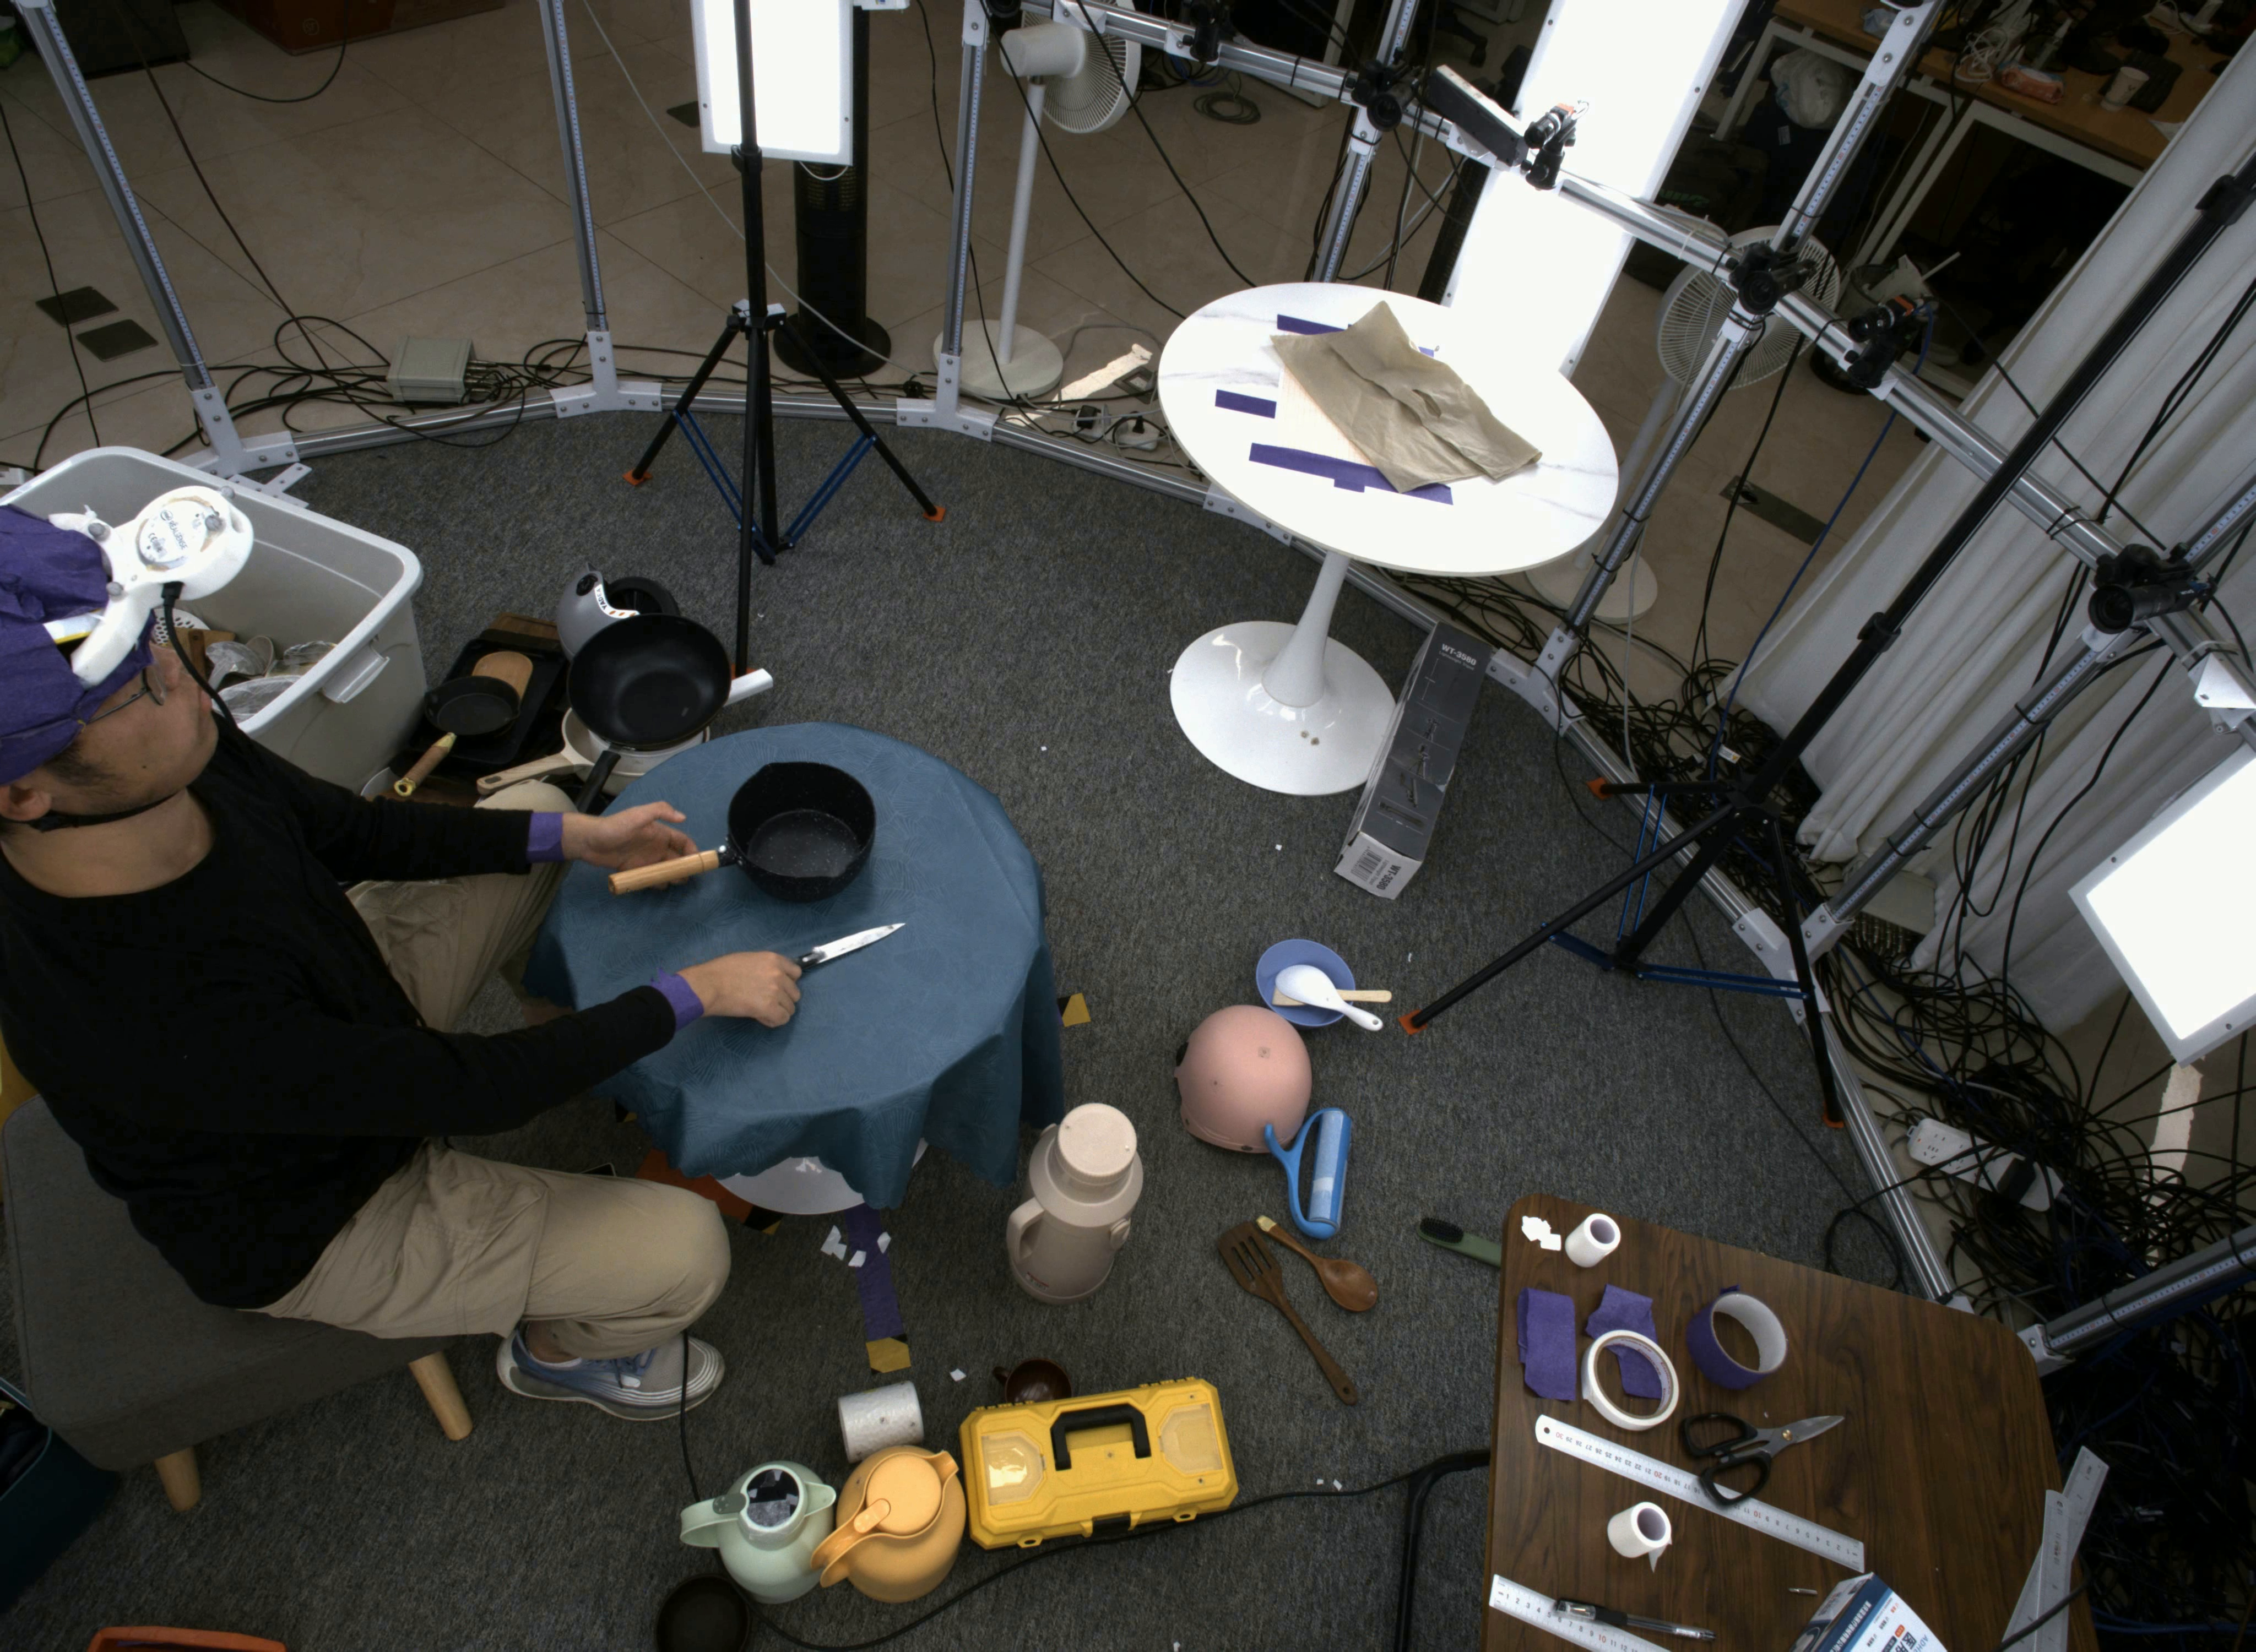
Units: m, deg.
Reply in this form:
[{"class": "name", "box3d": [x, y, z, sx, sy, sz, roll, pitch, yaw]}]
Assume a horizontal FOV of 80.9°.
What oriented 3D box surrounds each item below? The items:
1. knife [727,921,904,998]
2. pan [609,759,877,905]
[{"class": "knife", "box3d": [-0.380, 0.160, 1.603, 0.240, 0.016, 0.024, -21, 62, -32]}, {"class": "pan", "box3d": [-0.477, 0.035, 1.613, 0.344, 0.110, 0.202, -25, 63, -30]}]
